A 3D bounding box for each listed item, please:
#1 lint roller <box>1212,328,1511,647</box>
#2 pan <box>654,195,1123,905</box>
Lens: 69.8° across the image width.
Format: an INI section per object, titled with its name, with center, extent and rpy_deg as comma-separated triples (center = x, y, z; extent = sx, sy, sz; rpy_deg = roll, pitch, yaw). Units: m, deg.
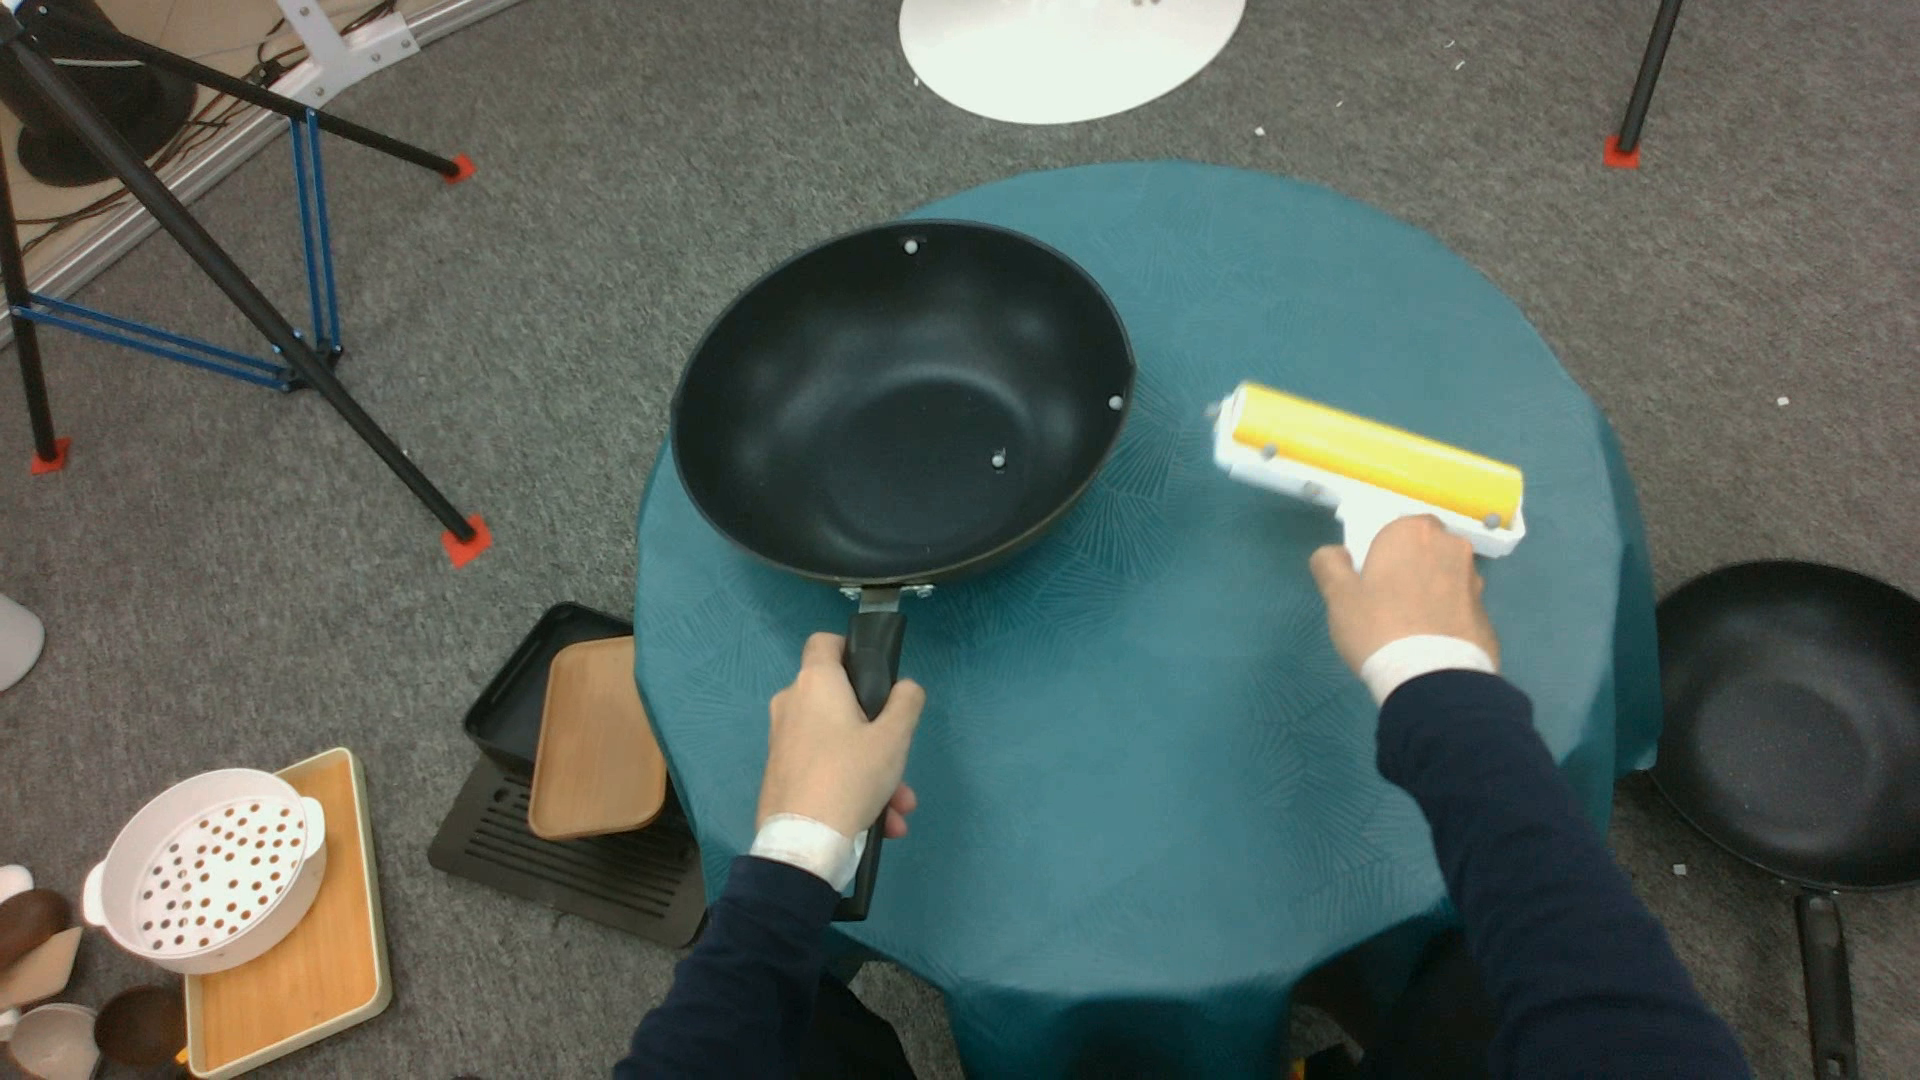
[lint roller]
center = 0.217, -0.023, 0.711
extent = 0.174, 0.051, 0.193
rpy_deg = 22, 34, -9
[pan]
center = -0.044, -0.007, 0.804
extent = 0.288, 0.086, 0.465
rpy_deg = -3, 57, 9
